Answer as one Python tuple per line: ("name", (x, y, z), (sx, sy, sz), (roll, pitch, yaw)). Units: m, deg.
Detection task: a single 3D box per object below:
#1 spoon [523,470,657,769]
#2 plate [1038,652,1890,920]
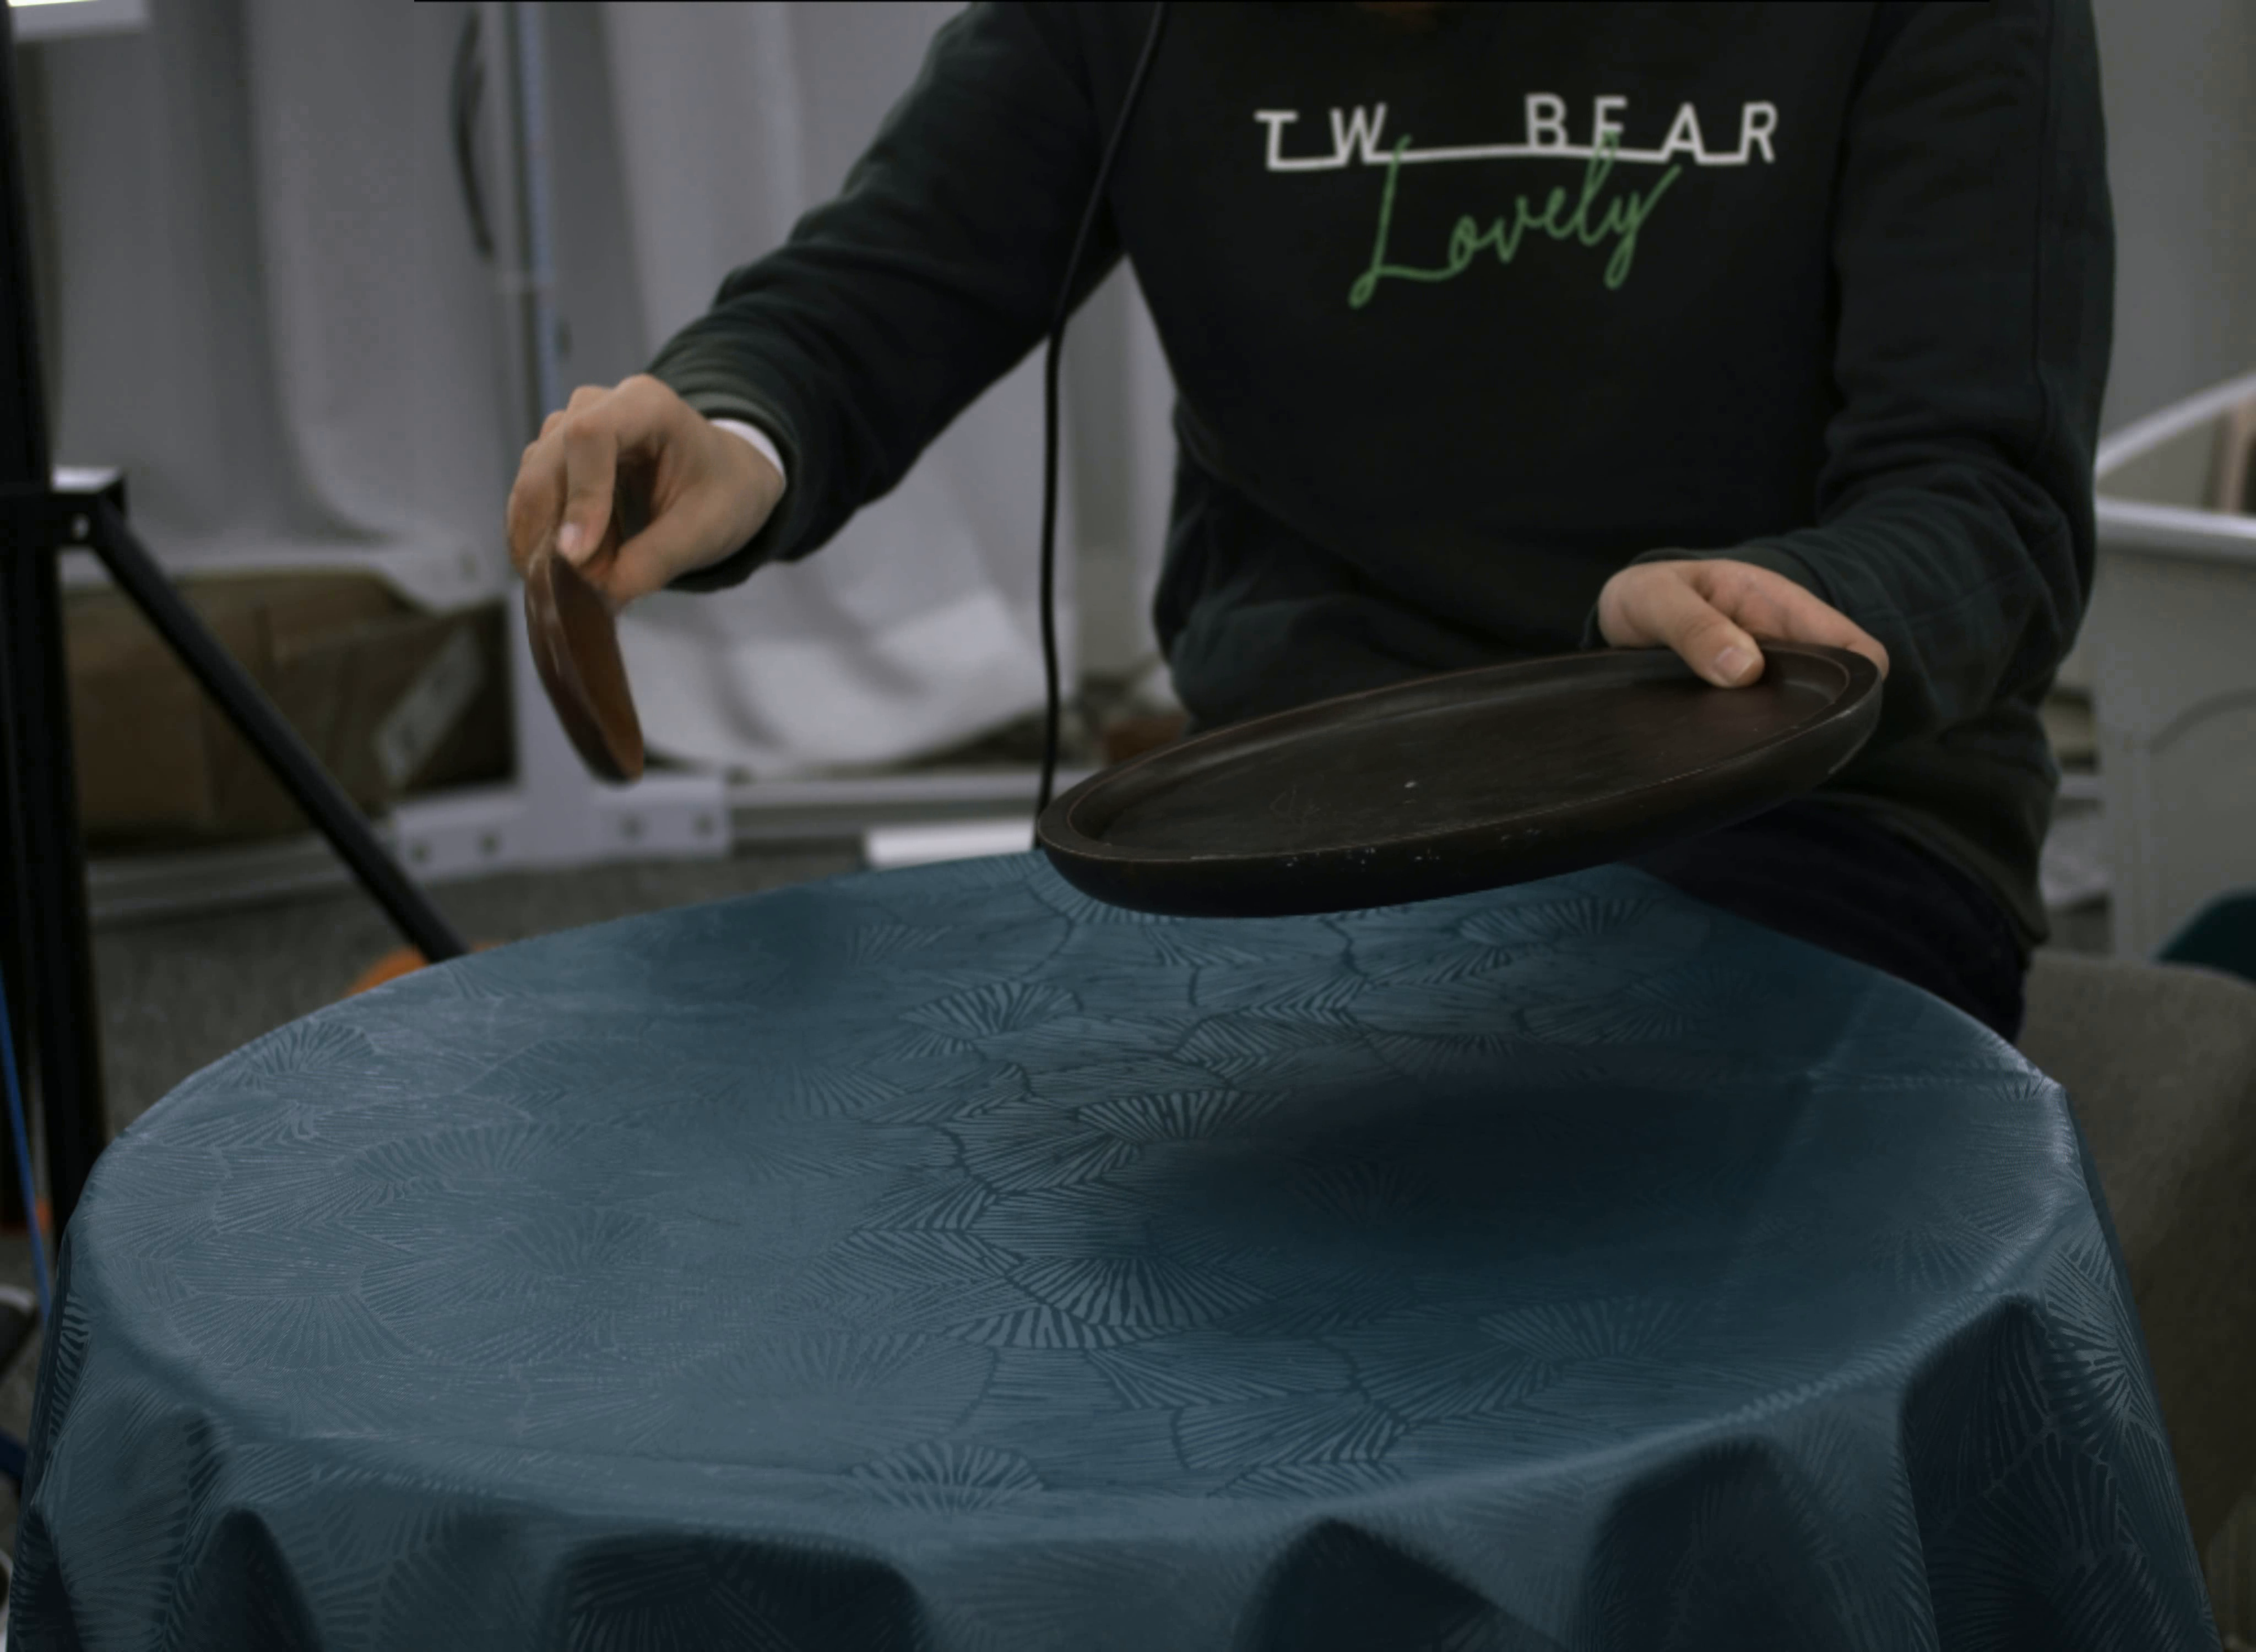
("spoon", (-0.168, -0.072, 1.674), (0.017, 0.075, 0.217), (-24, 18, 6))
("plate", (0.099, -0.014, 1.563), (0.254, 0.029, 0.256), (-11, 12, 1))
